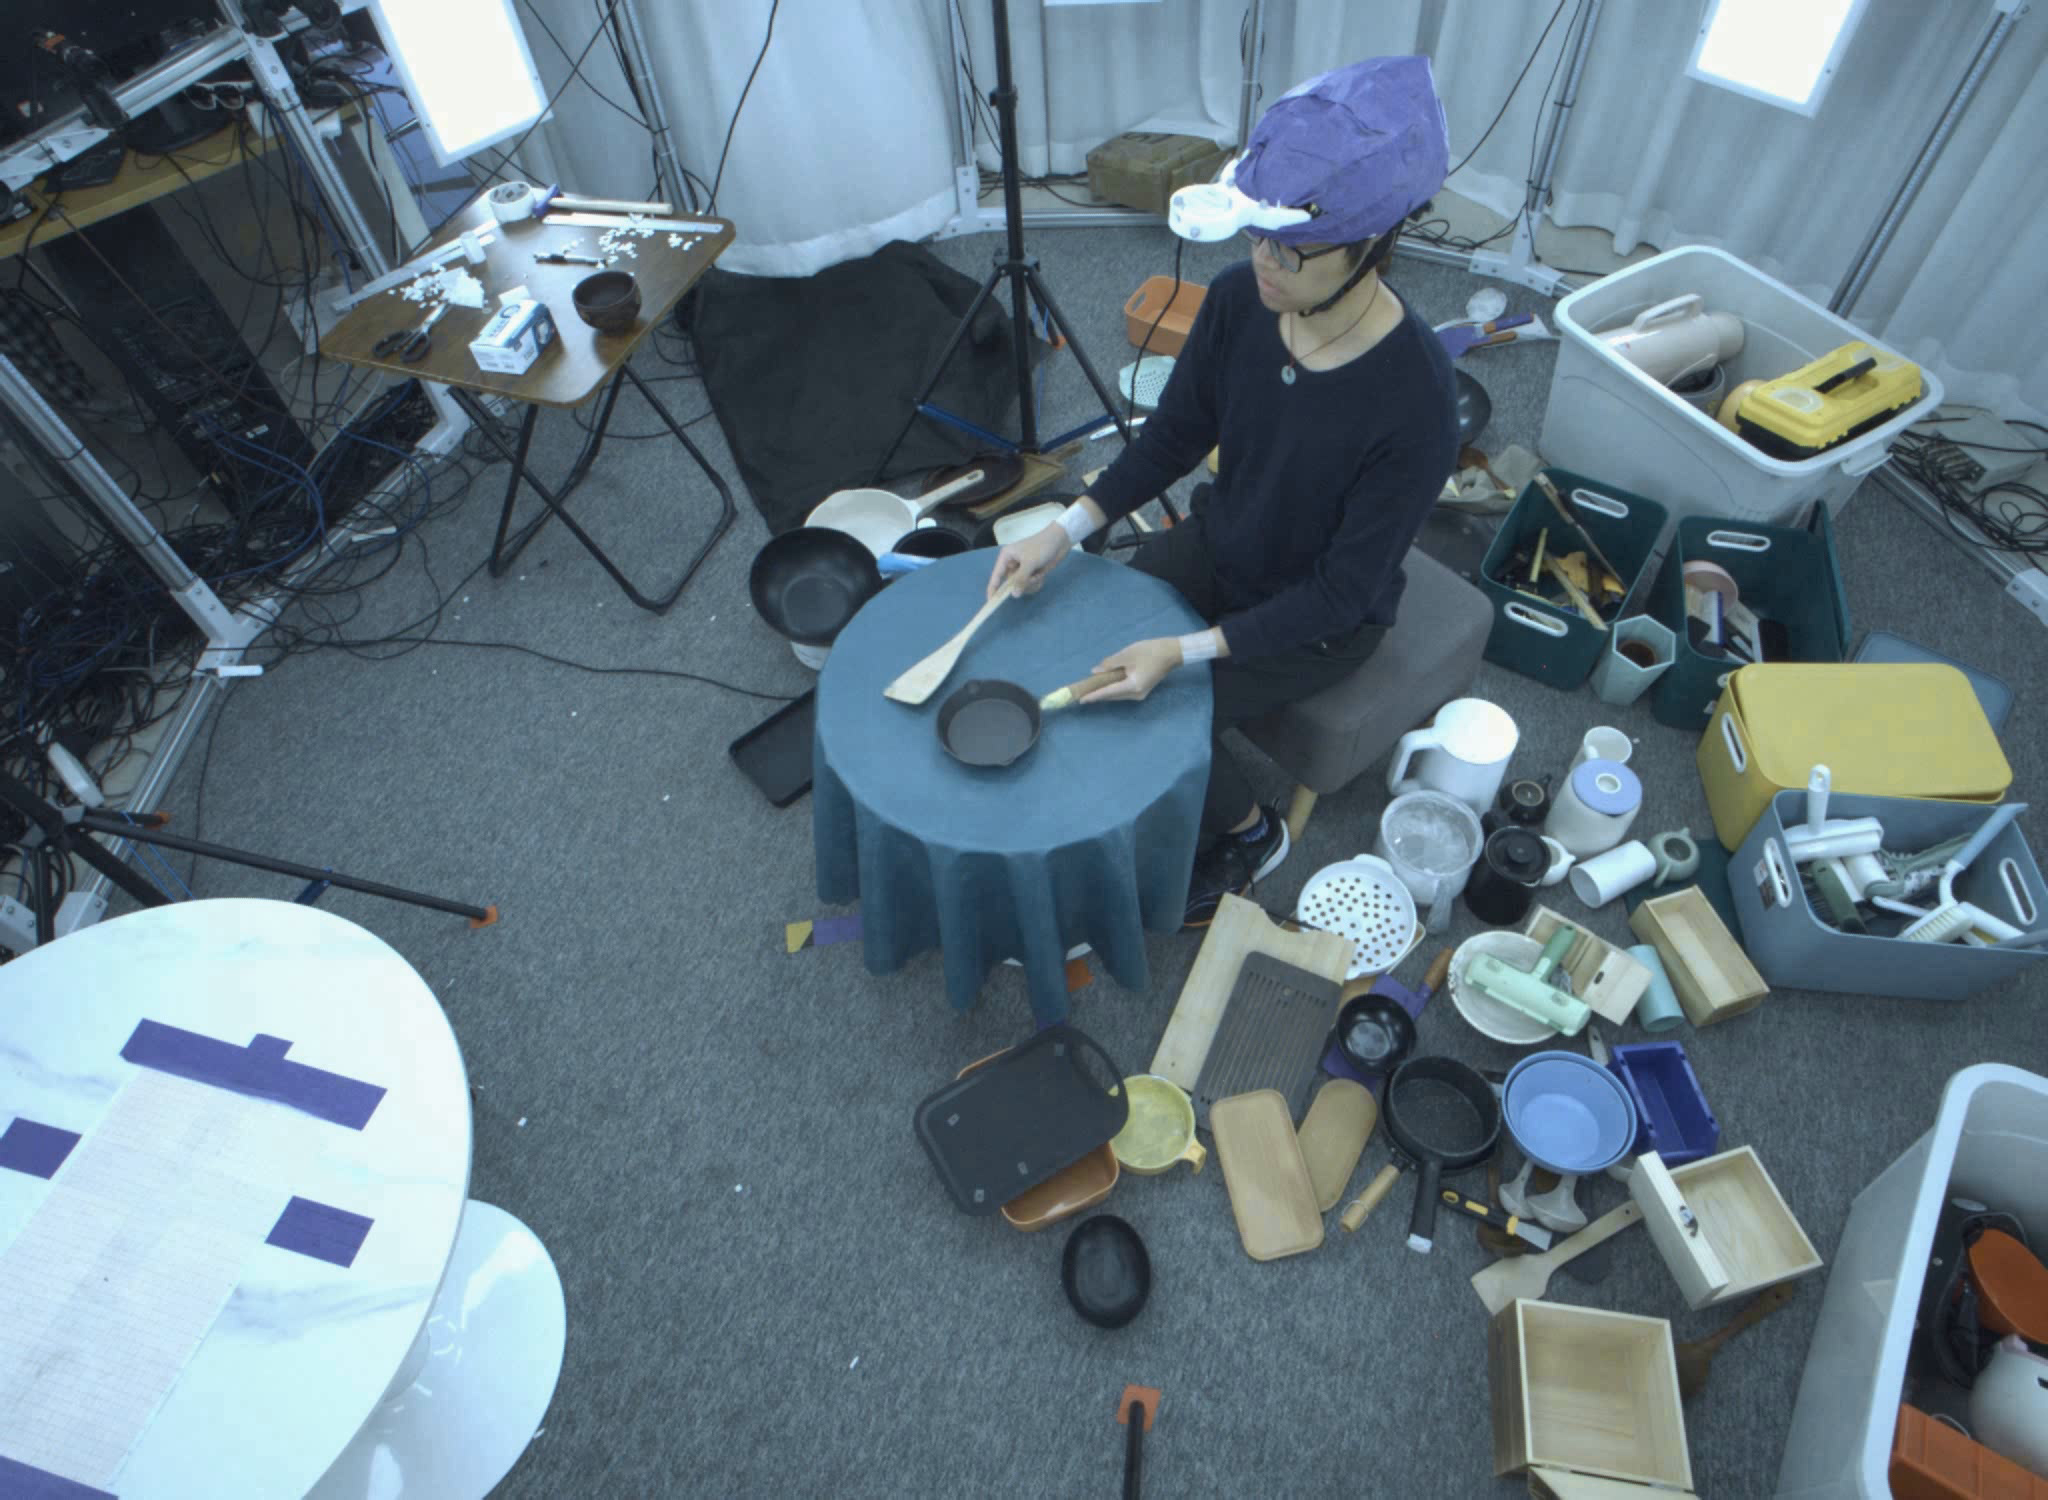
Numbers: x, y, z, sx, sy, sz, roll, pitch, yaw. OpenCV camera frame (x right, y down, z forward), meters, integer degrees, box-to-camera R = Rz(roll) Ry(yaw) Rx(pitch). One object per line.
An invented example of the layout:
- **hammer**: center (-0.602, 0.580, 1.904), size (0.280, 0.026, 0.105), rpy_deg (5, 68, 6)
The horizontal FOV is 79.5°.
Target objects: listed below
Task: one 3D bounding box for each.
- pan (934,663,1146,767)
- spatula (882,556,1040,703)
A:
- **pan**: center (0.028, -0.065, 1.801), size (0.326, 0.050, 0.166), rpy_deg (-18, 56, -8)
- **spatula**: center (-0.086, -0.187, 1.876), size (0.078, 0.017, 0.328), rpy_deg (27, 69, 42)
